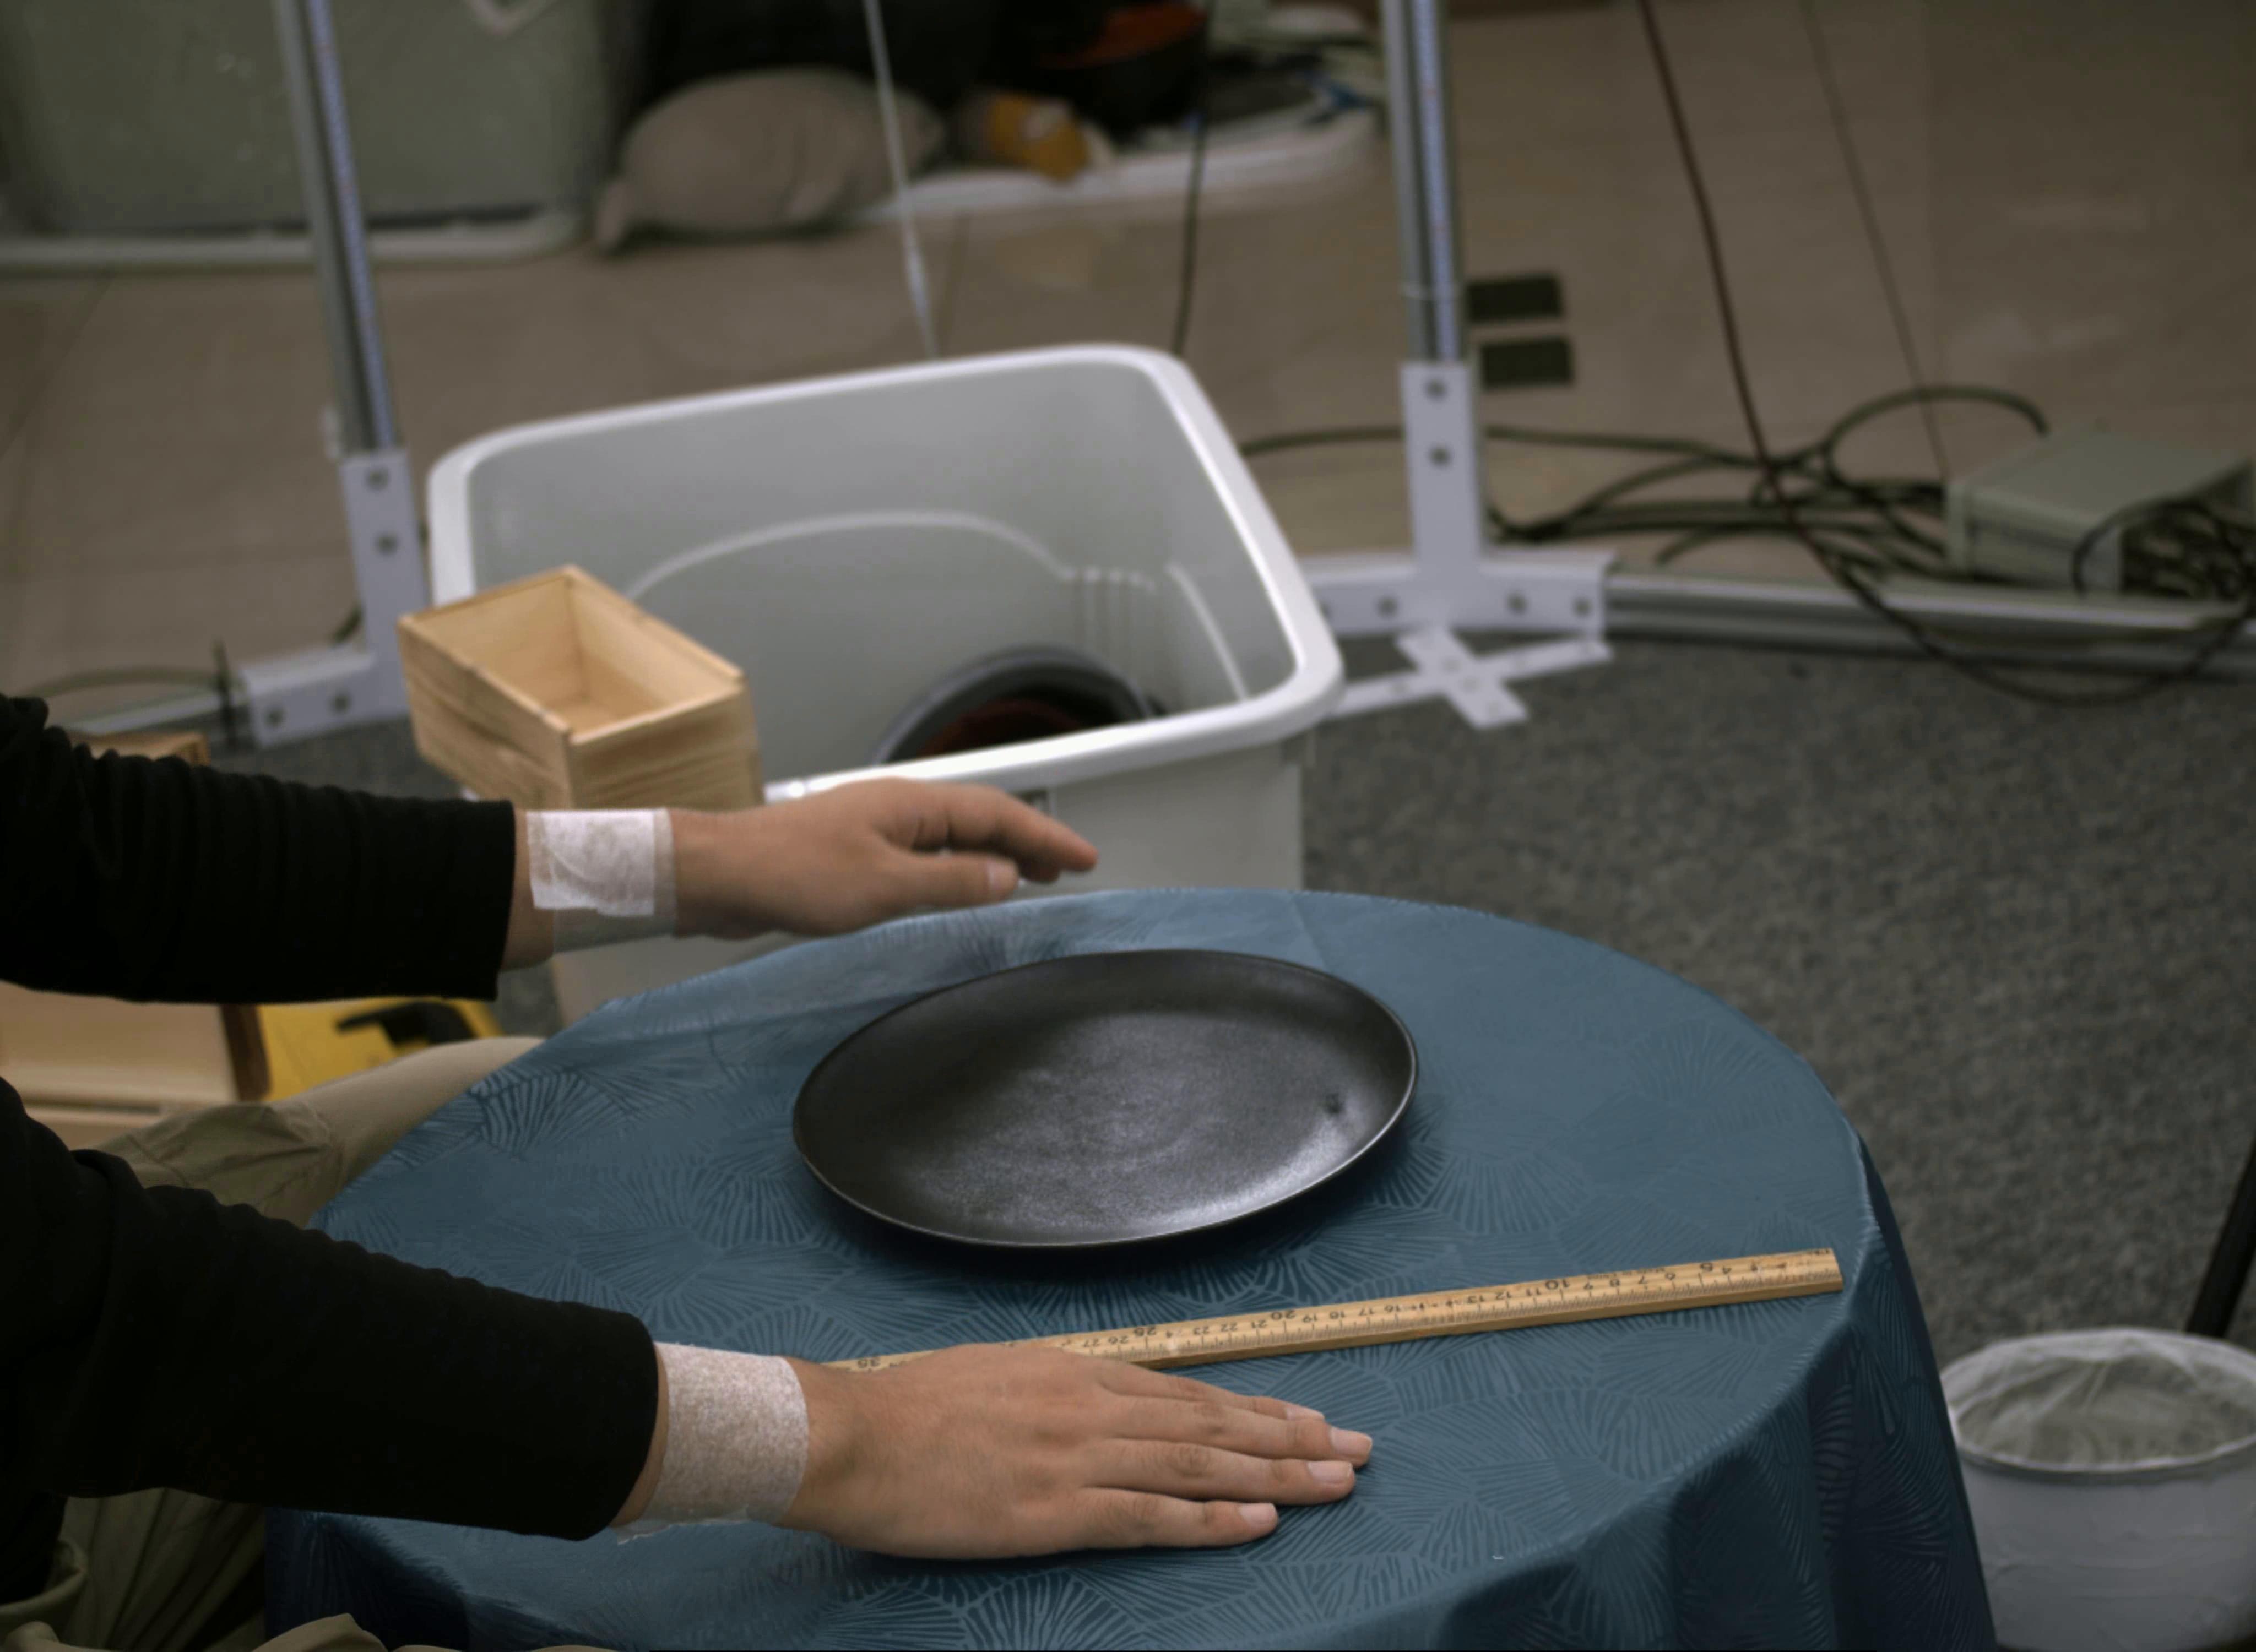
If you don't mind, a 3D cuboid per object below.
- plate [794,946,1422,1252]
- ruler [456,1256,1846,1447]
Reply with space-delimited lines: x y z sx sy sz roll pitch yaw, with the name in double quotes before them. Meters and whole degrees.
"plate" -0.007 0.110 2.184 0.244 0.024 0.241 -6 25 3
"ruler" 0.007 0.187 2.037 0.499 0.006 0.026 -6 23 1
